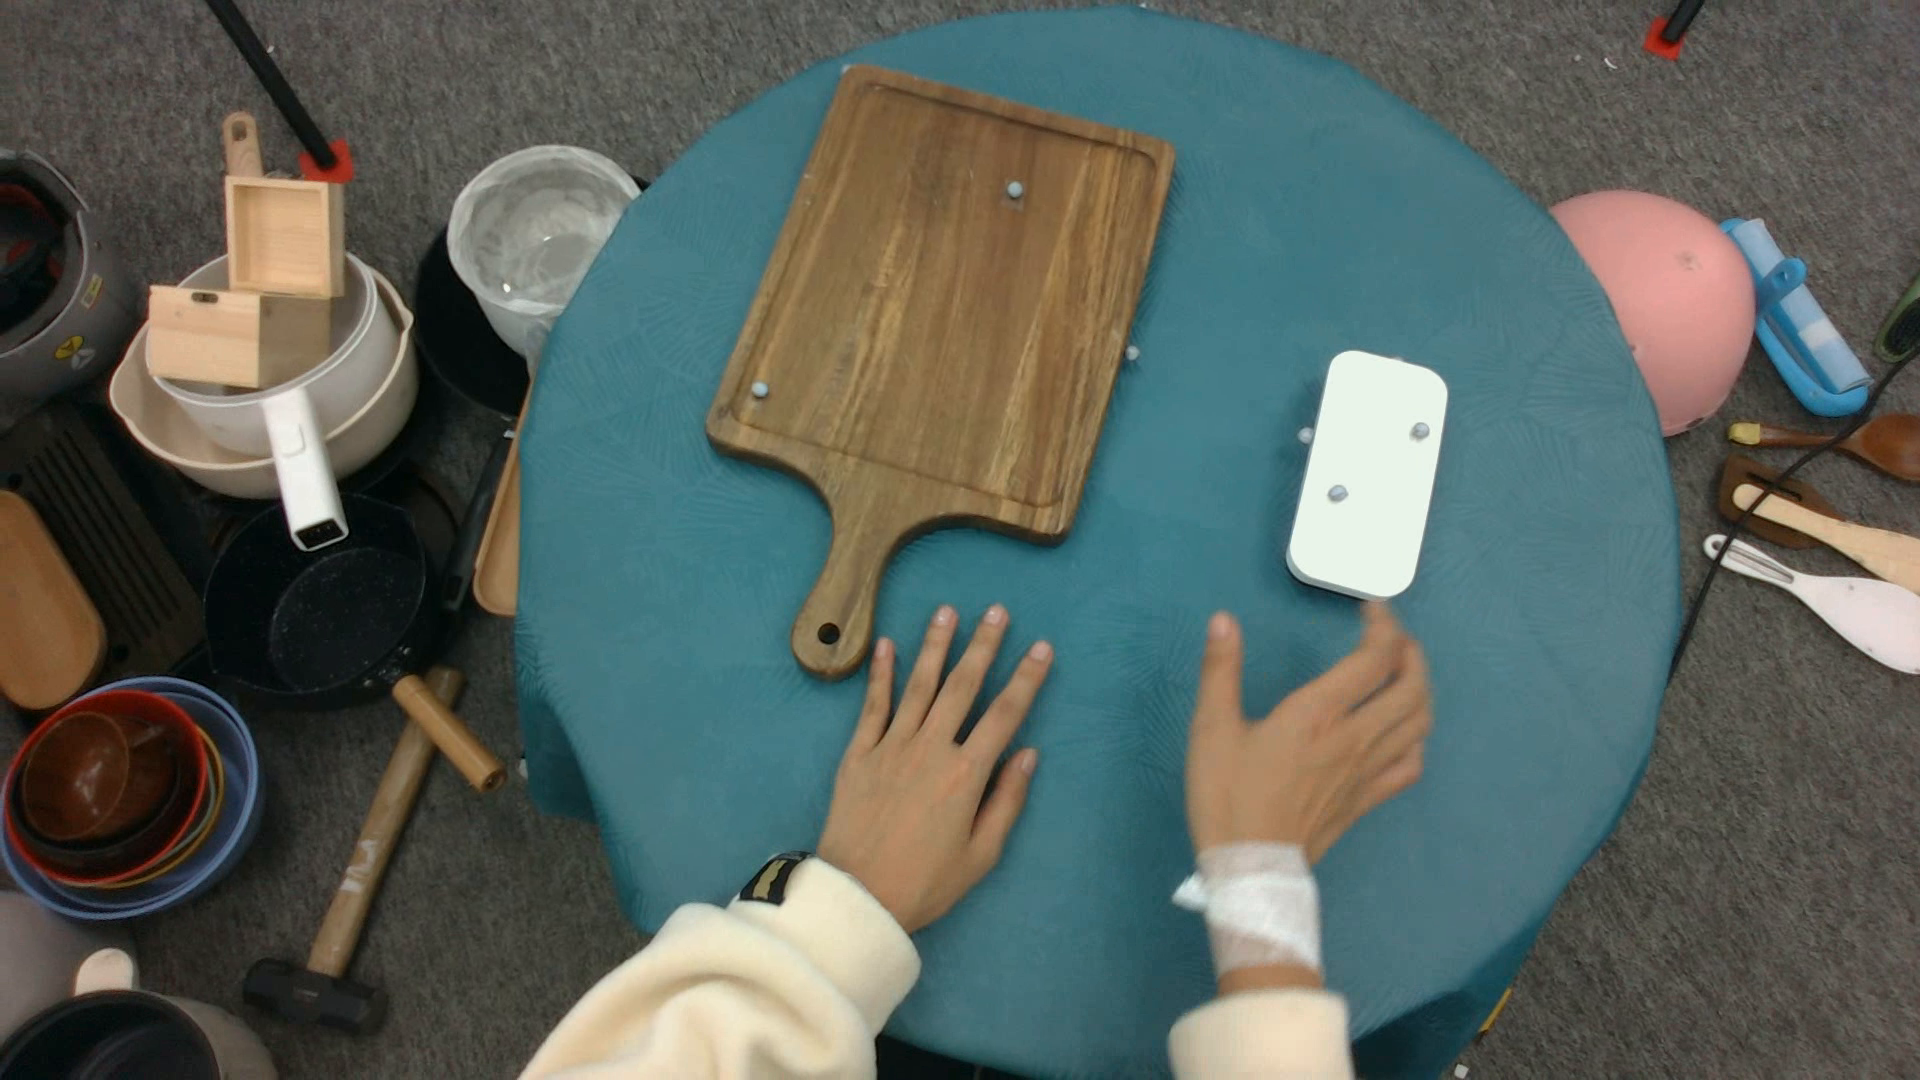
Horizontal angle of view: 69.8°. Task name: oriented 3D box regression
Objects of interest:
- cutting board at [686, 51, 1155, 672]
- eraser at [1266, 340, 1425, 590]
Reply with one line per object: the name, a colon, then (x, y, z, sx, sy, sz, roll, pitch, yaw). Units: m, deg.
cutting board: (-0.028, -0.098, 0.722, 0.201, 0.023, 0.353, 15, 69, 4)
eraser: (0.196, -0.040, 0.704, 0.063, 0.034, 0.132, 17, 69, 4)
